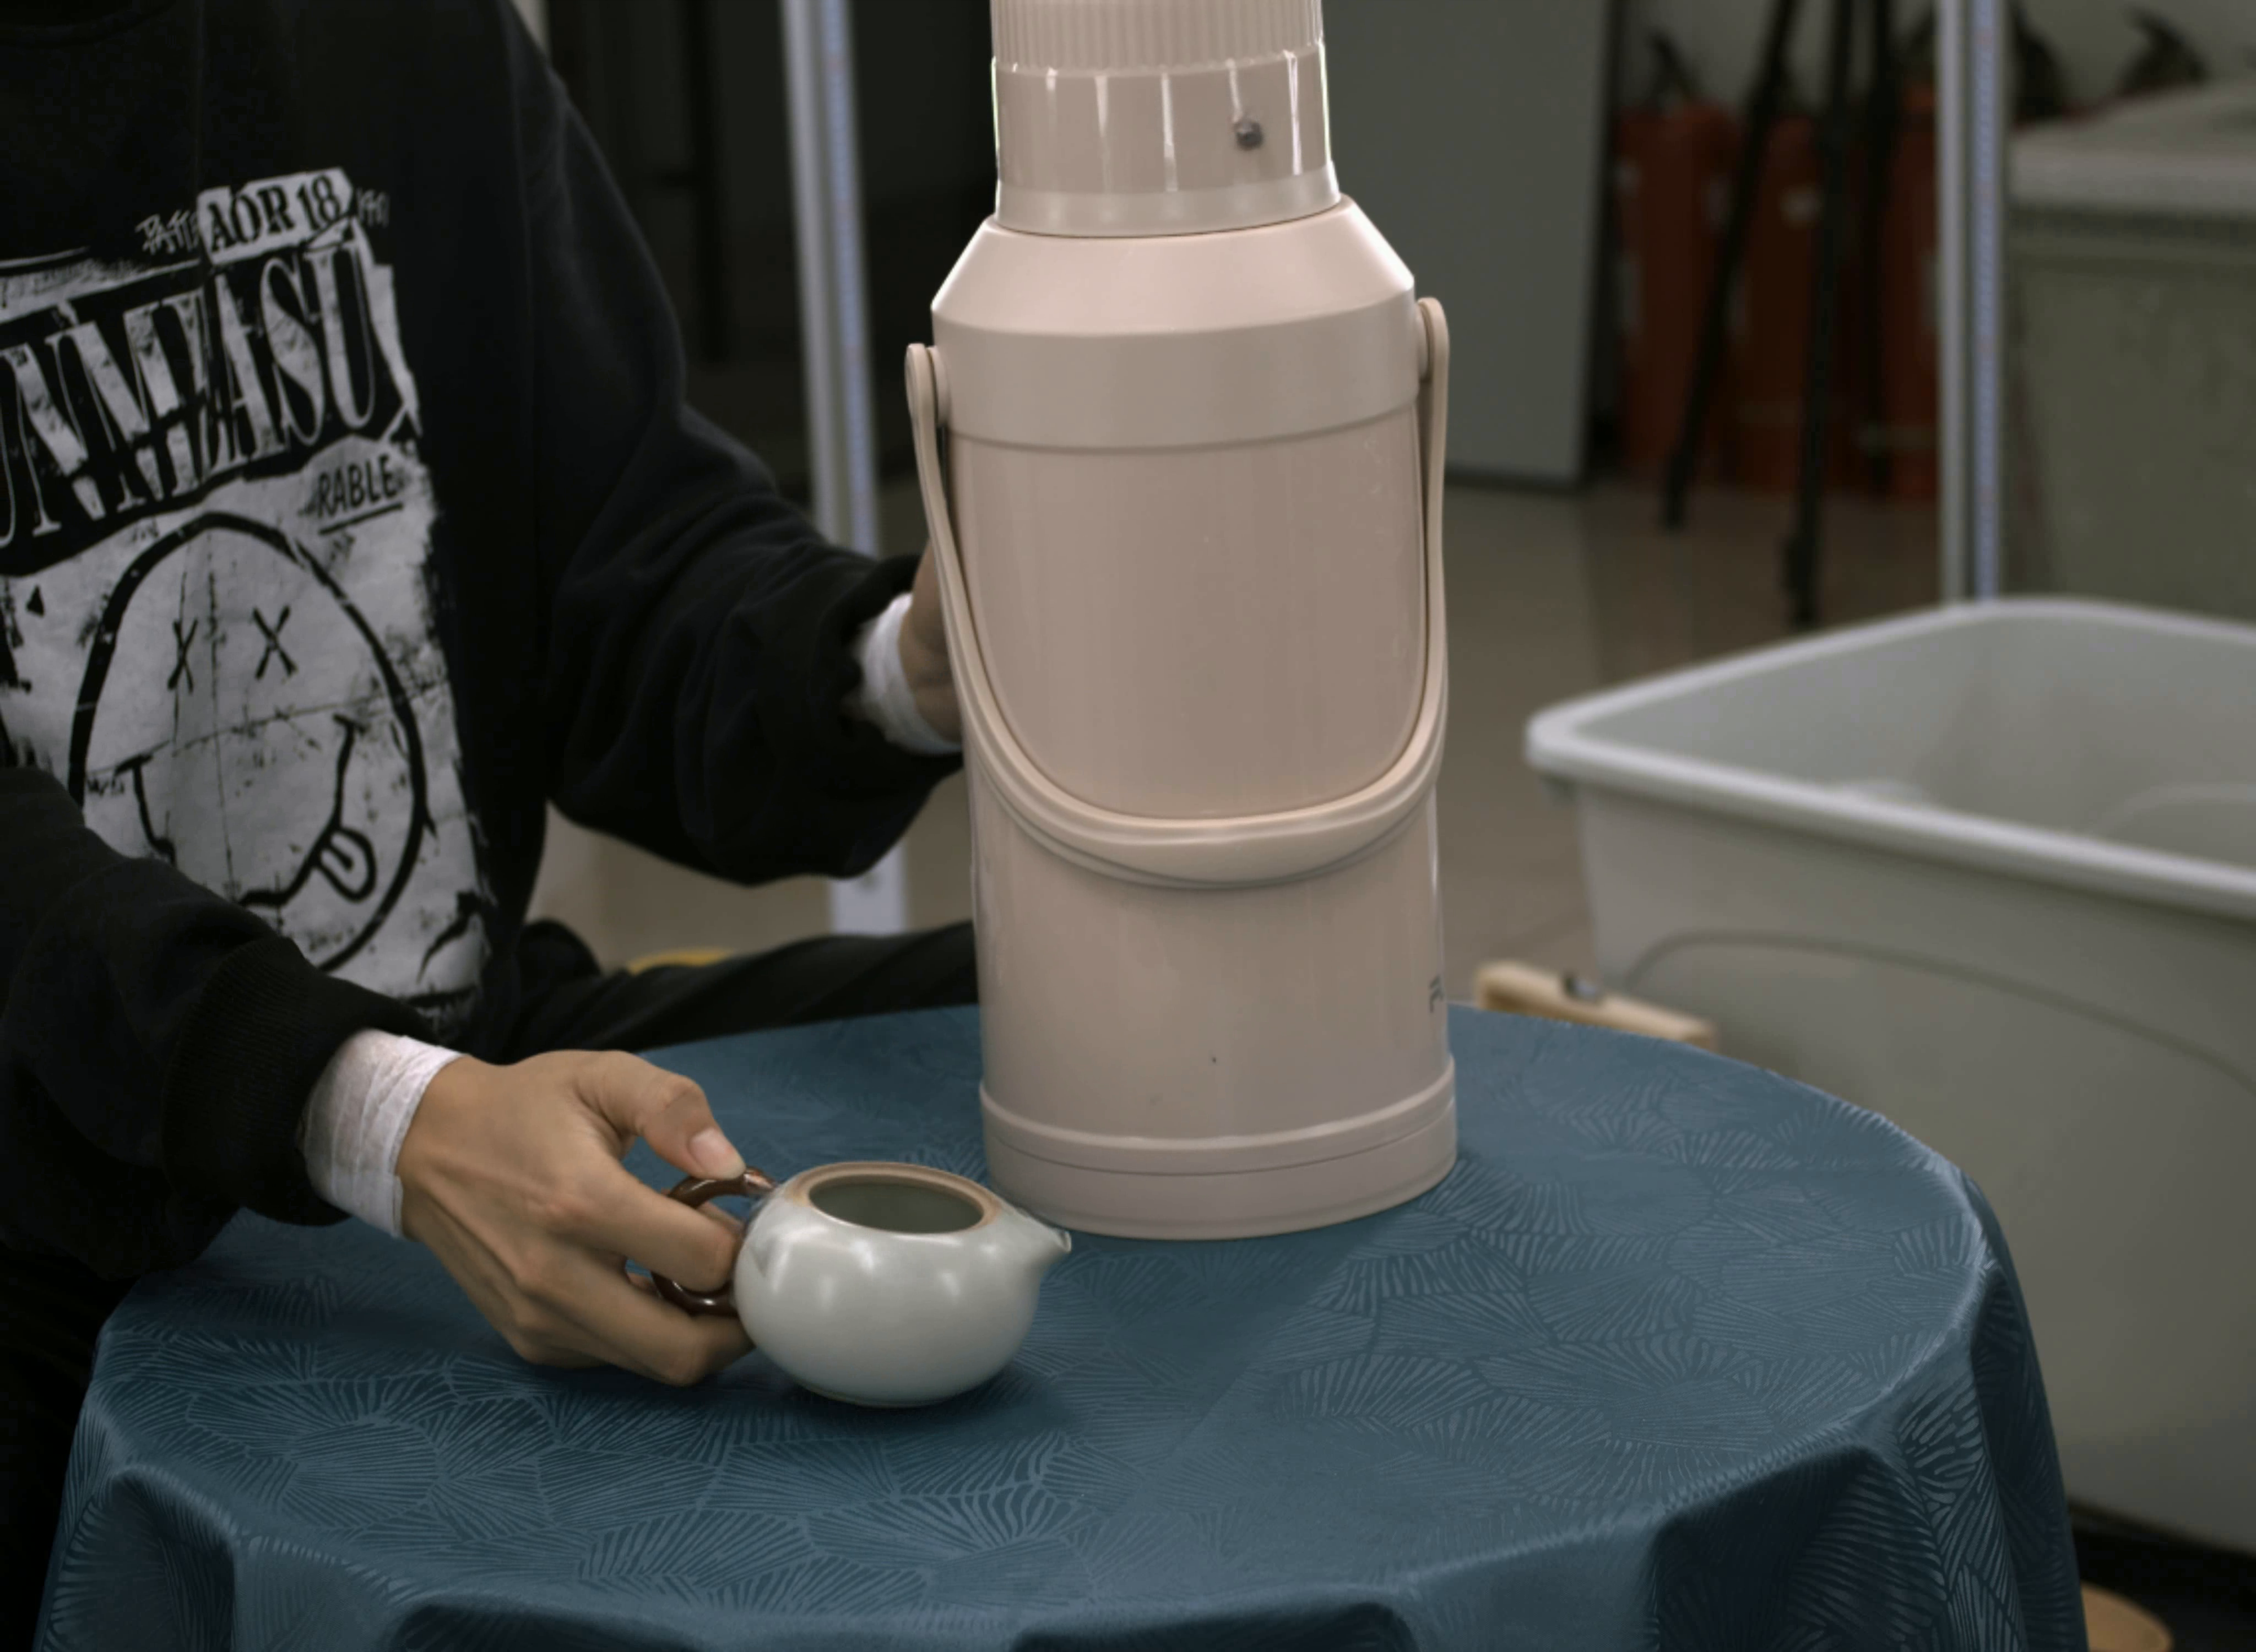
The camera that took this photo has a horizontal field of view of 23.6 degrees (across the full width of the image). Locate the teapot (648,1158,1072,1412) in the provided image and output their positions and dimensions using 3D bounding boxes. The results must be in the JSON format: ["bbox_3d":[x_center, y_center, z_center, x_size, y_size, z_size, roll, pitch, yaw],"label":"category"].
[{"bbox_3d":[-0.081,0.134,1.600,0.127,0.060,0.091,10,18,8],"label":"teapot"}]

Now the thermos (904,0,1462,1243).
[{"bbox_3d":[0.018,-0.084,1.763,0.172,0.410,0.208,-8,14,-9],"label":"thermos"}]
